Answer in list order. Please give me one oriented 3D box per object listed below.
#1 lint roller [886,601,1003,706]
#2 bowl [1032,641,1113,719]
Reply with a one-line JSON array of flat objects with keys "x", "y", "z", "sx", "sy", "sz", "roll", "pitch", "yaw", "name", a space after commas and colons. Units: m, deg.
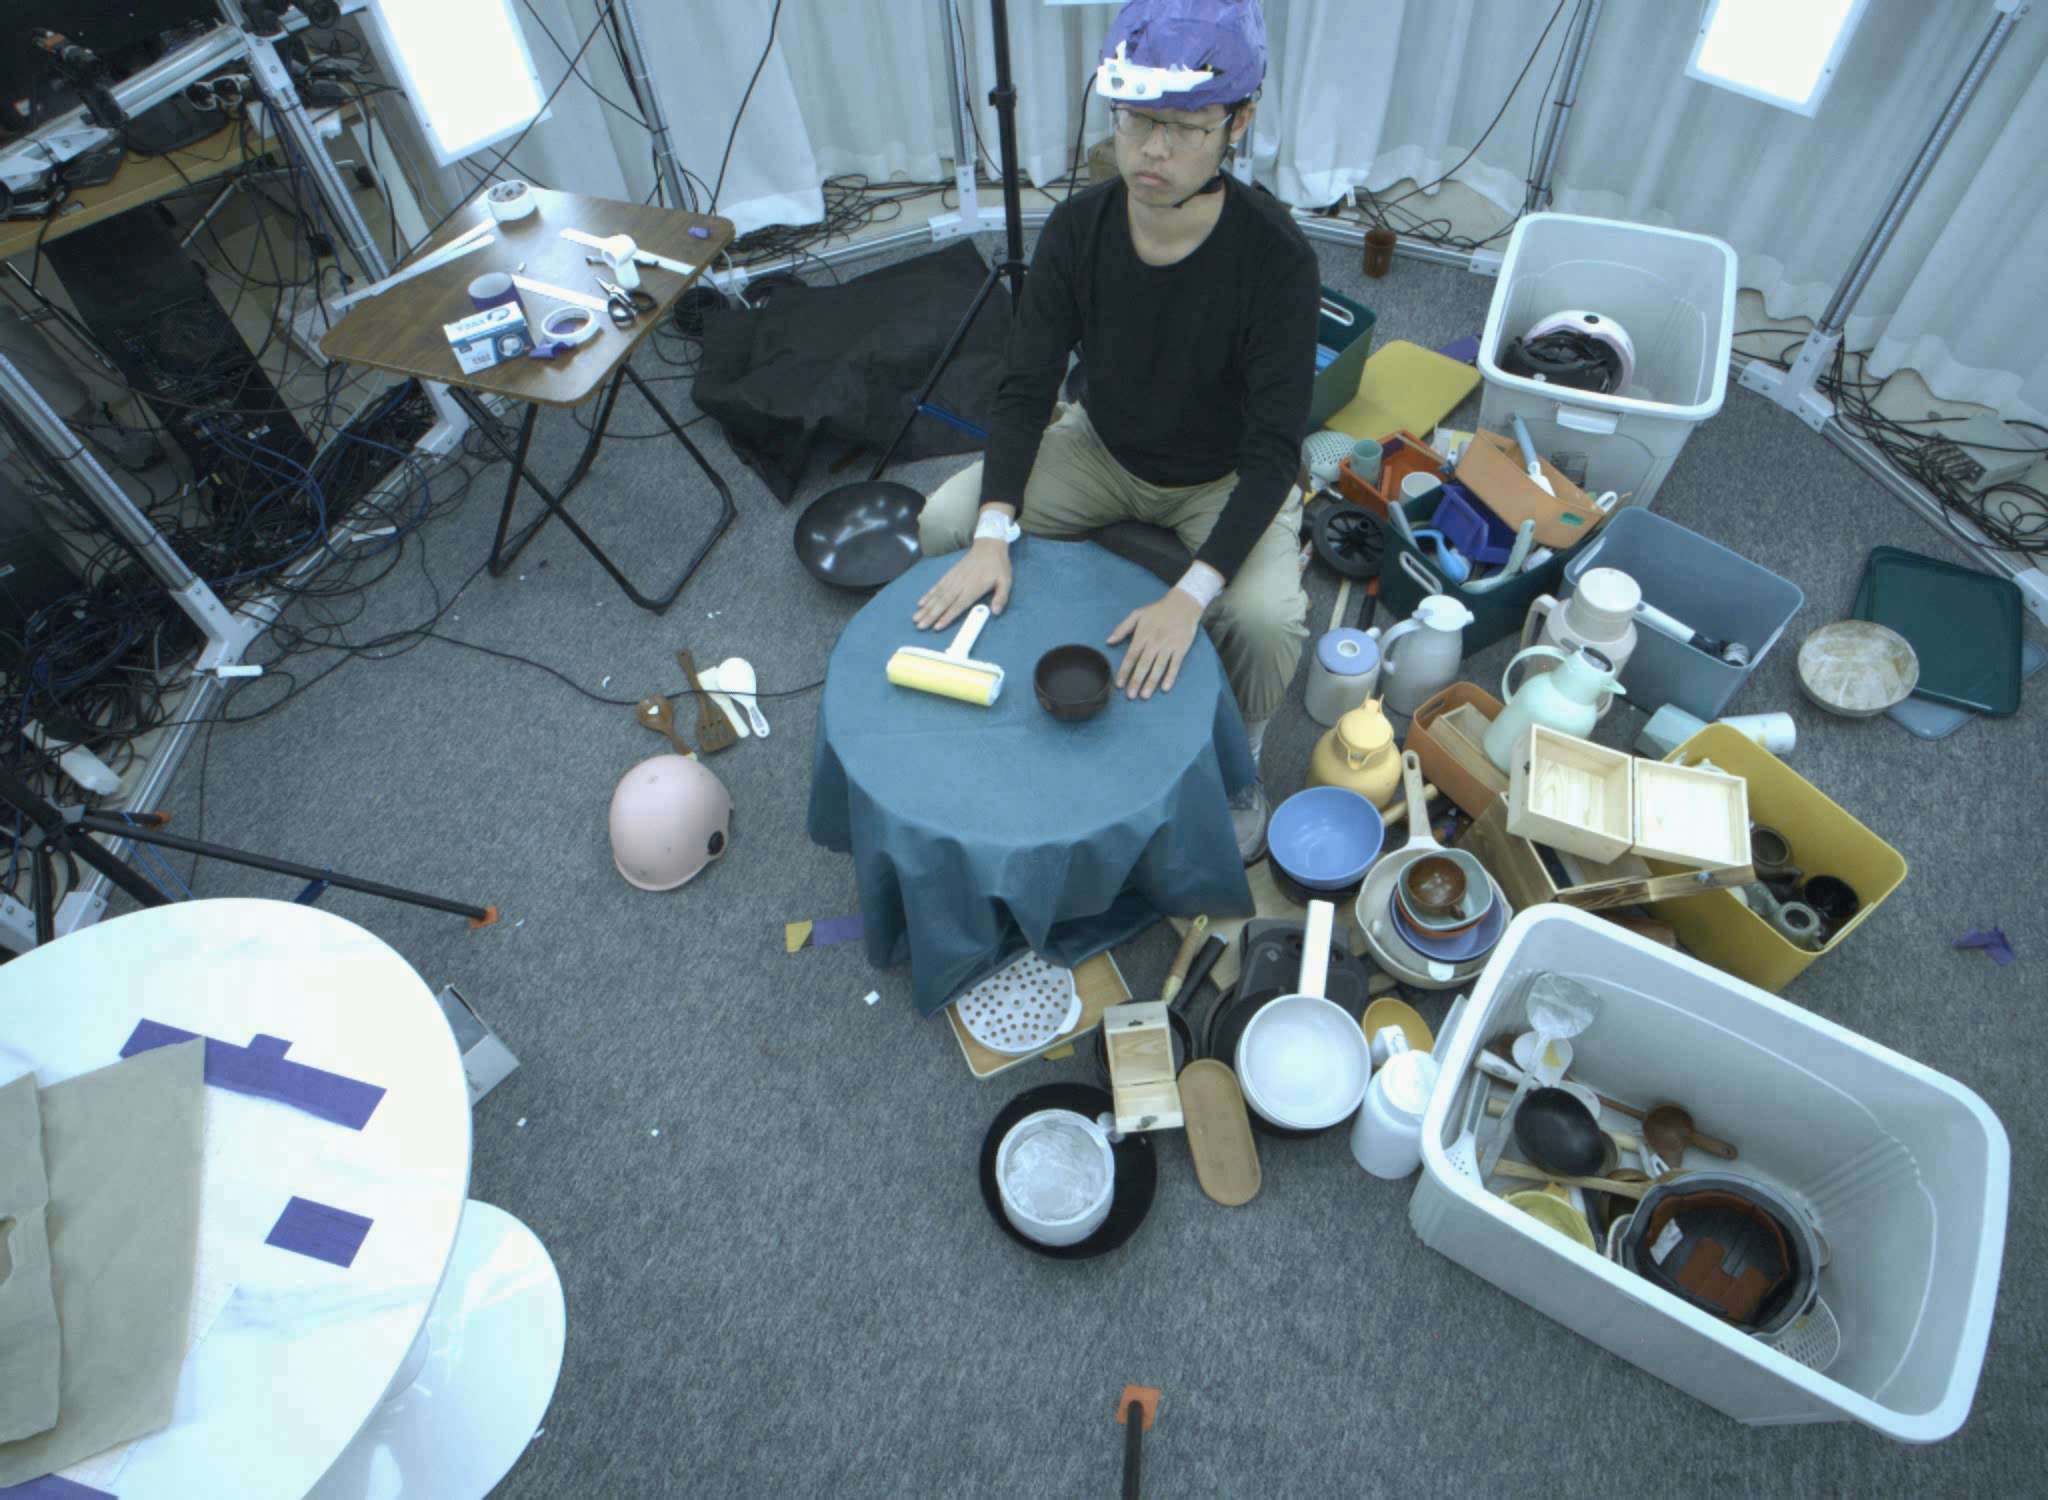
[{"x": -0.102, "y": -0.164, "z": 1.875, "sx": 0.173, "sy": 0.052, "sz": 0.191, "roll": 13, "pitch": 61, "yaw": 10, "name": "lint roller"}, {"x": 0.072, "y": -0.095, "z": 1.806, "sx": 0.118, "sy": 0.070, "sz": 0.117, "roll": 0, "pitch": 56, "yaw": 2, "name": "bowl"}]
